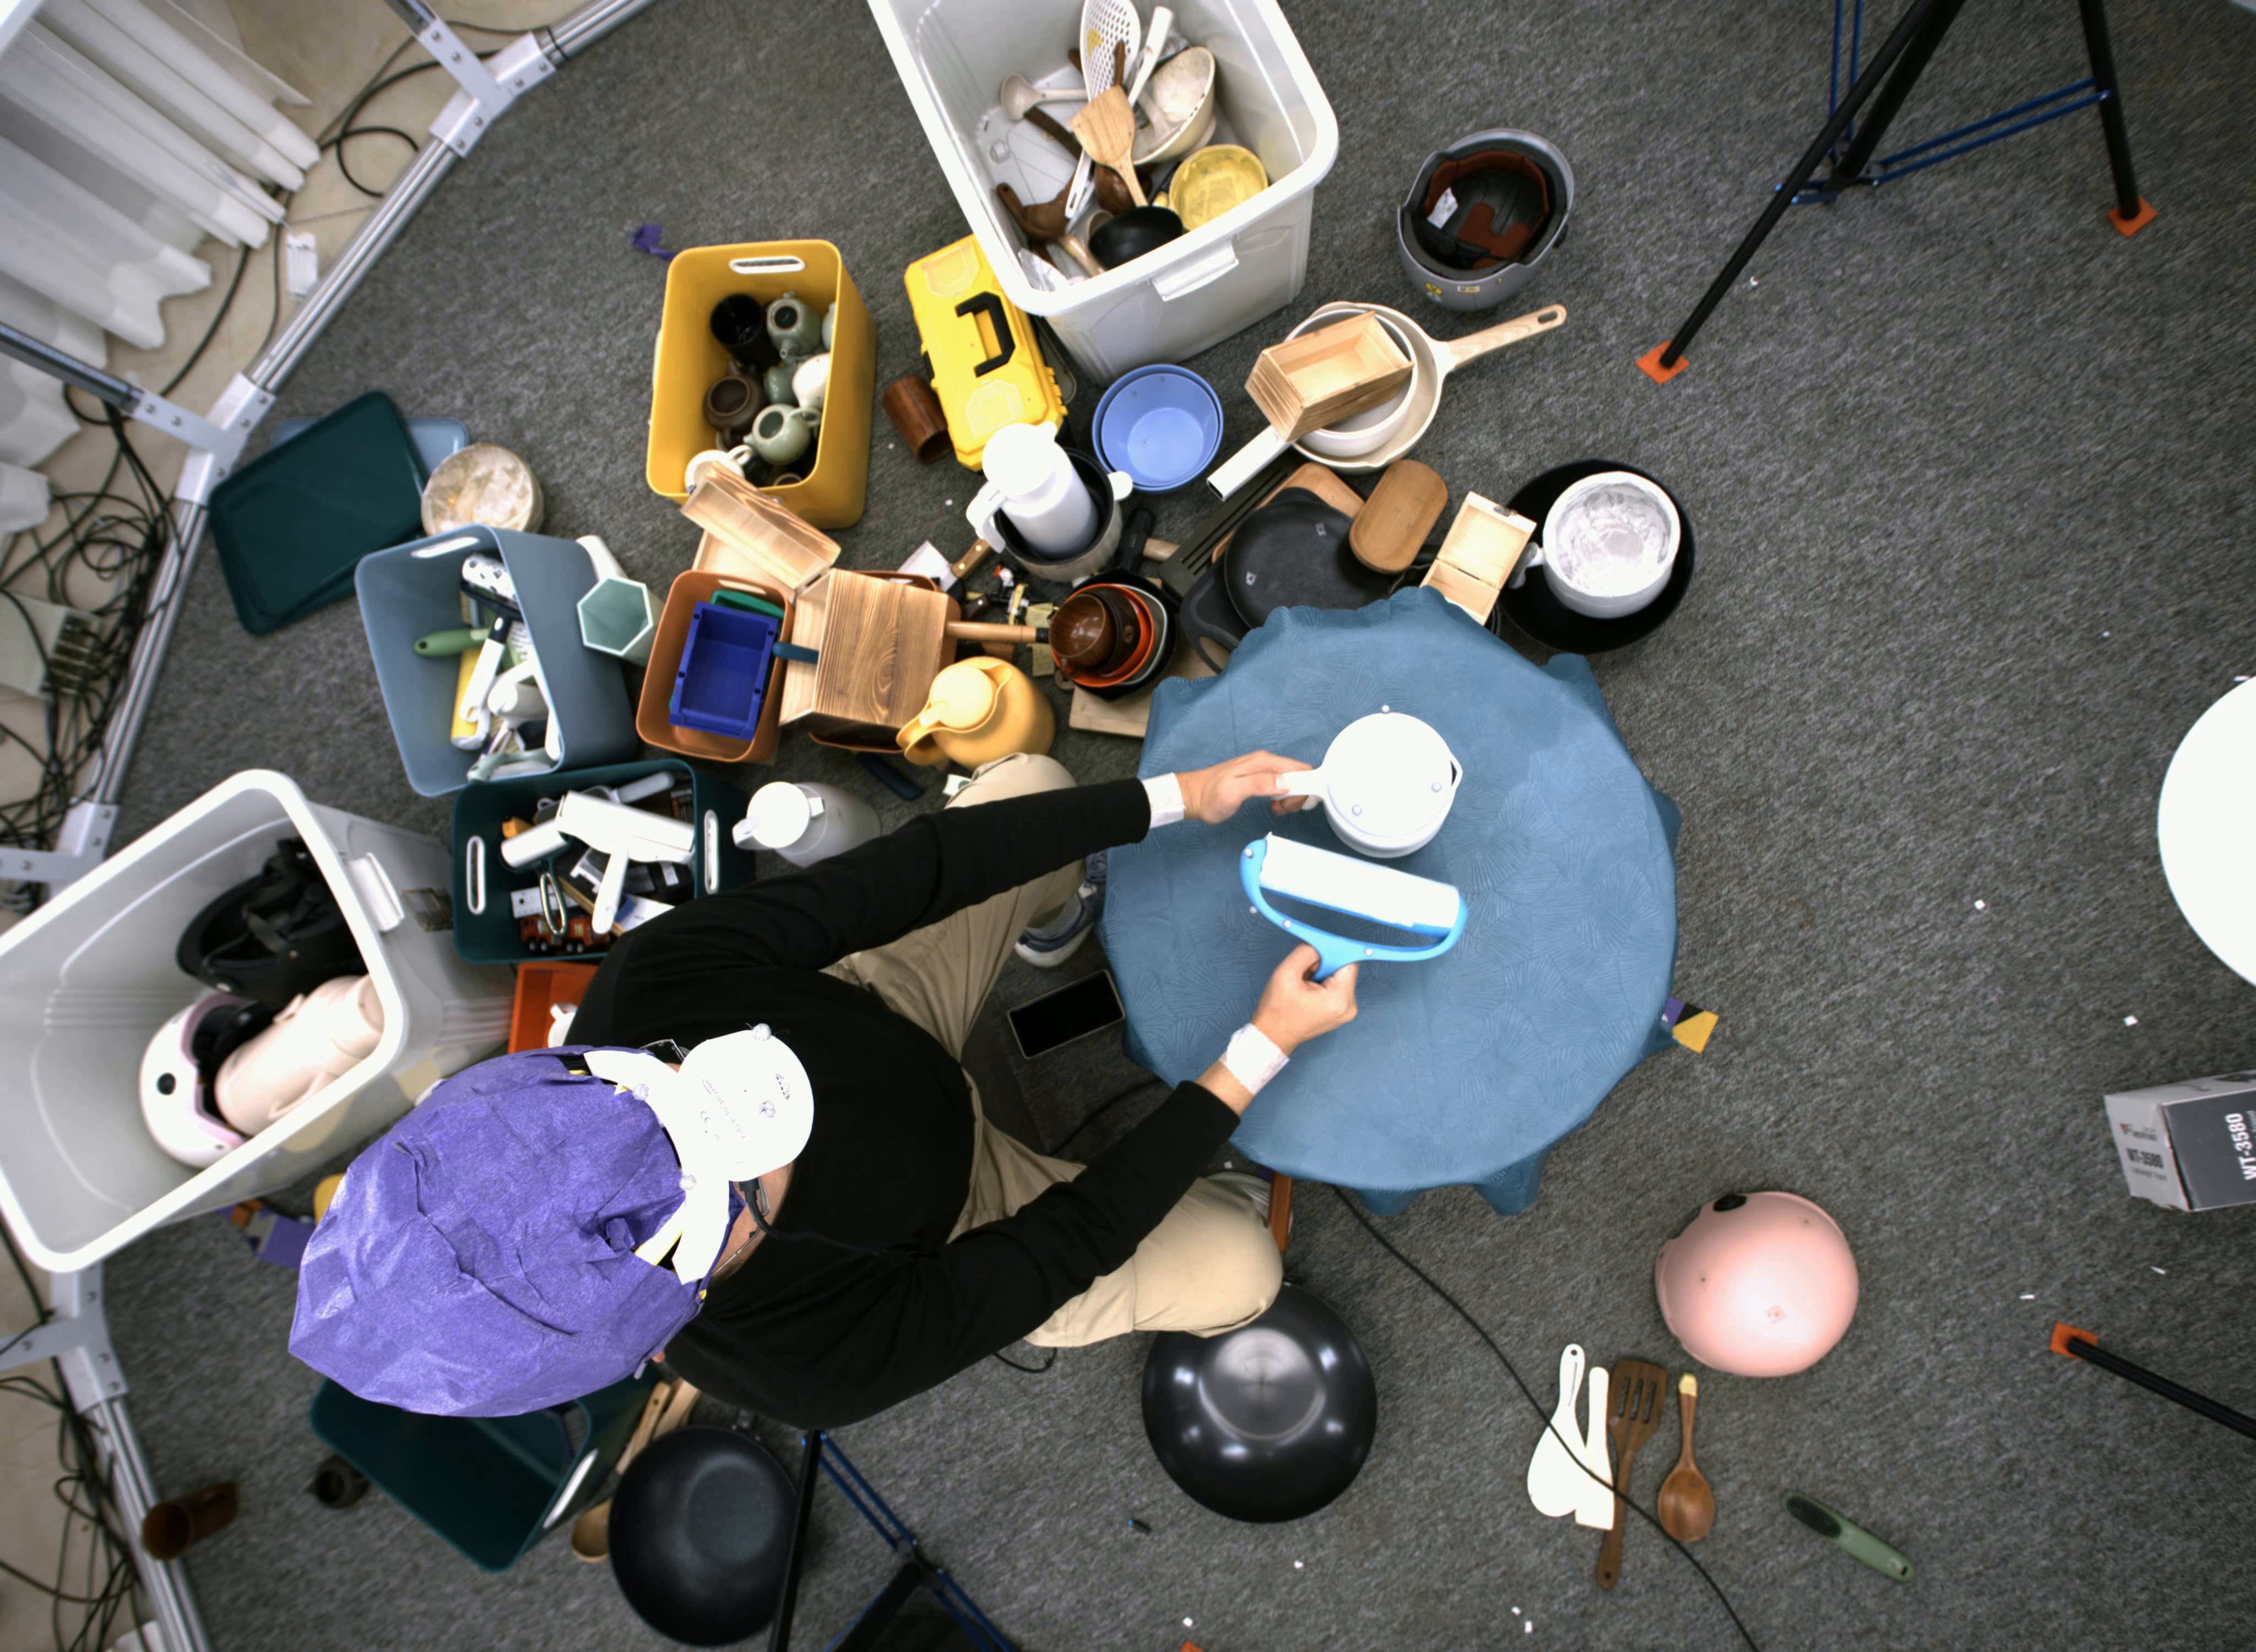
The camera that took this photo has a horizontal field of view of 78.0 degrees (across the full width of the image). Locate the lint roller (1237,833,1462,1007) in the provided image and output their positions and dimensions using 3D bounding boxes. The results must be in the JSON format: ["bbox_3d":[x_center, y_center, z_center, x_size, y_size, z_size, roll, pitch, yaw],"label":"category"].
[{"bbox_3d":[0.201,0.112,1.362,0.229,0.066,0.183,13,111,-7],"label":"lint roller"}]

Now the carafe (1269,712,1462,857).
[{"bbox_3d":[0.236,-0.039,1.385,0.192,0.183,0.131,-5,84,11],"label":"carafe"}]
